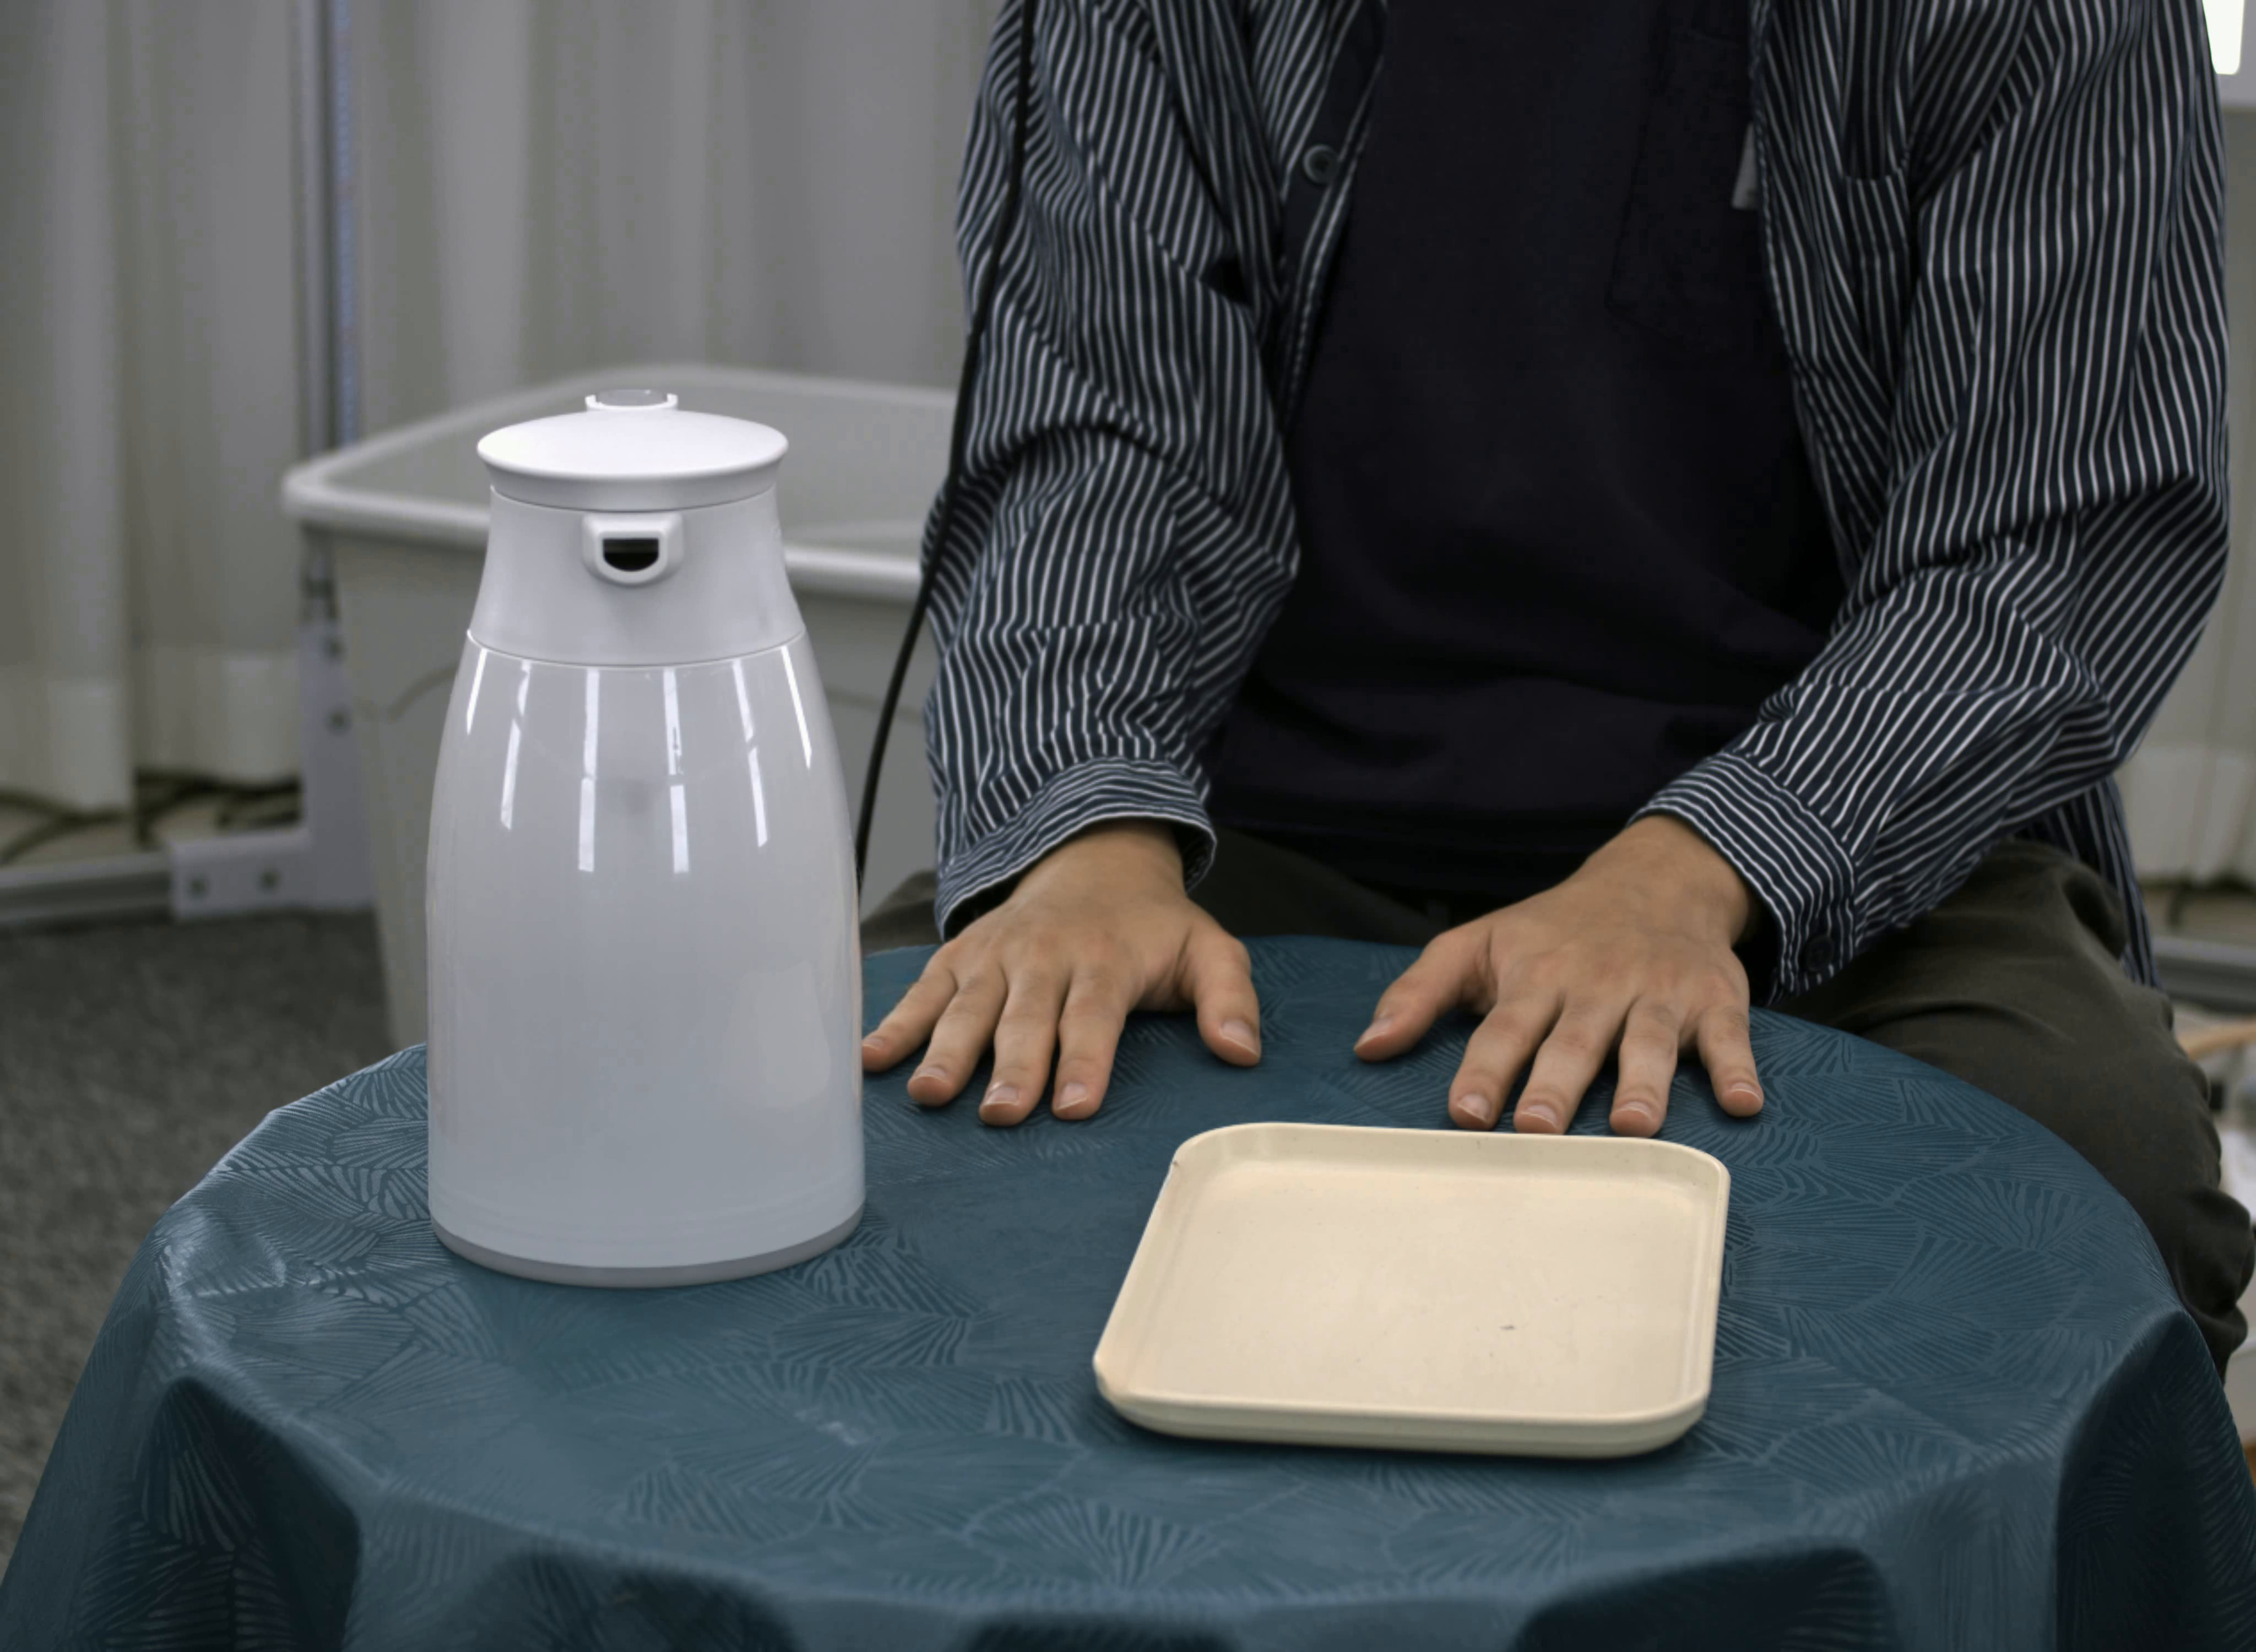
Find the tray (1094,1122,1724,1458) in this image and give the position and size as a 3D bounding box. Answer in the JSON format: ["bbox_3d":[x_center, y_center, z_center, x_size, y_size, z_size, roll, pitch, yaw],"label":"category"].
[{"bbox_3d":[0.085,0.133,1.525,0.170,0.017,0.239,3,15,7],"label":"tray"}]

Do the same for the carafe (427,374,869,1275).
[{"bbox_3d":[-0.149,-0.009,1.587,0.132,0.250,0.166,-3,15,-9],"label":"carafe"}]
